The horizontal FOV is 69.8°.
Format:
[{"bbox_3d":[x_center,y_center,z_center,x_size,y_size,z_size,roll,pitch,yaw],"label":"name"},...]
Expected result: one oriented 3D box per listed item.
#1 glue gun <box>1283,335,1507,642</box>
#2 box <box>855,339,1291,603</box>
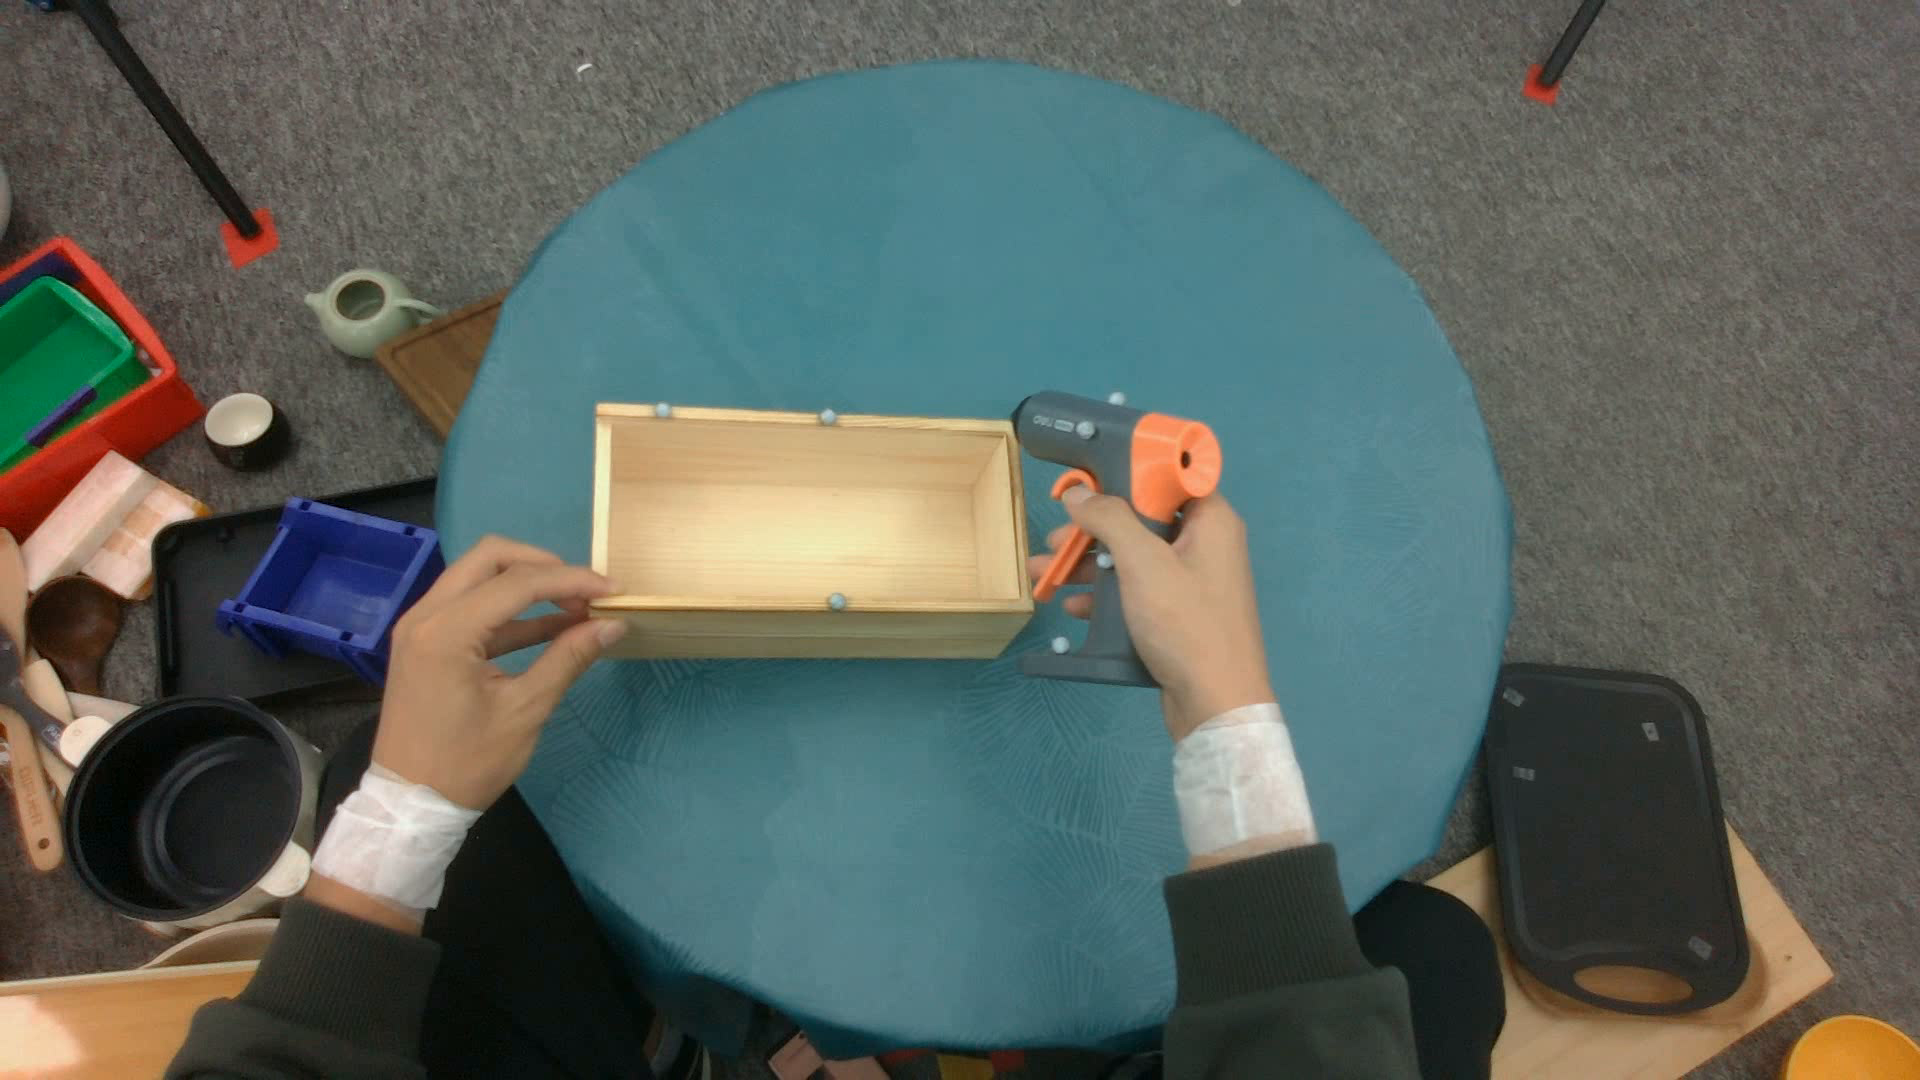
[{"bbox_3d":[0.183,-0.028,0.618,0.041,0.117,0.140,13,84,-27],"label":"glue gun"},{"bbox_3d":[0.056,-0.033,0.712,0.211,0.080,0.108,3,72,-2],"label":"box"}]
